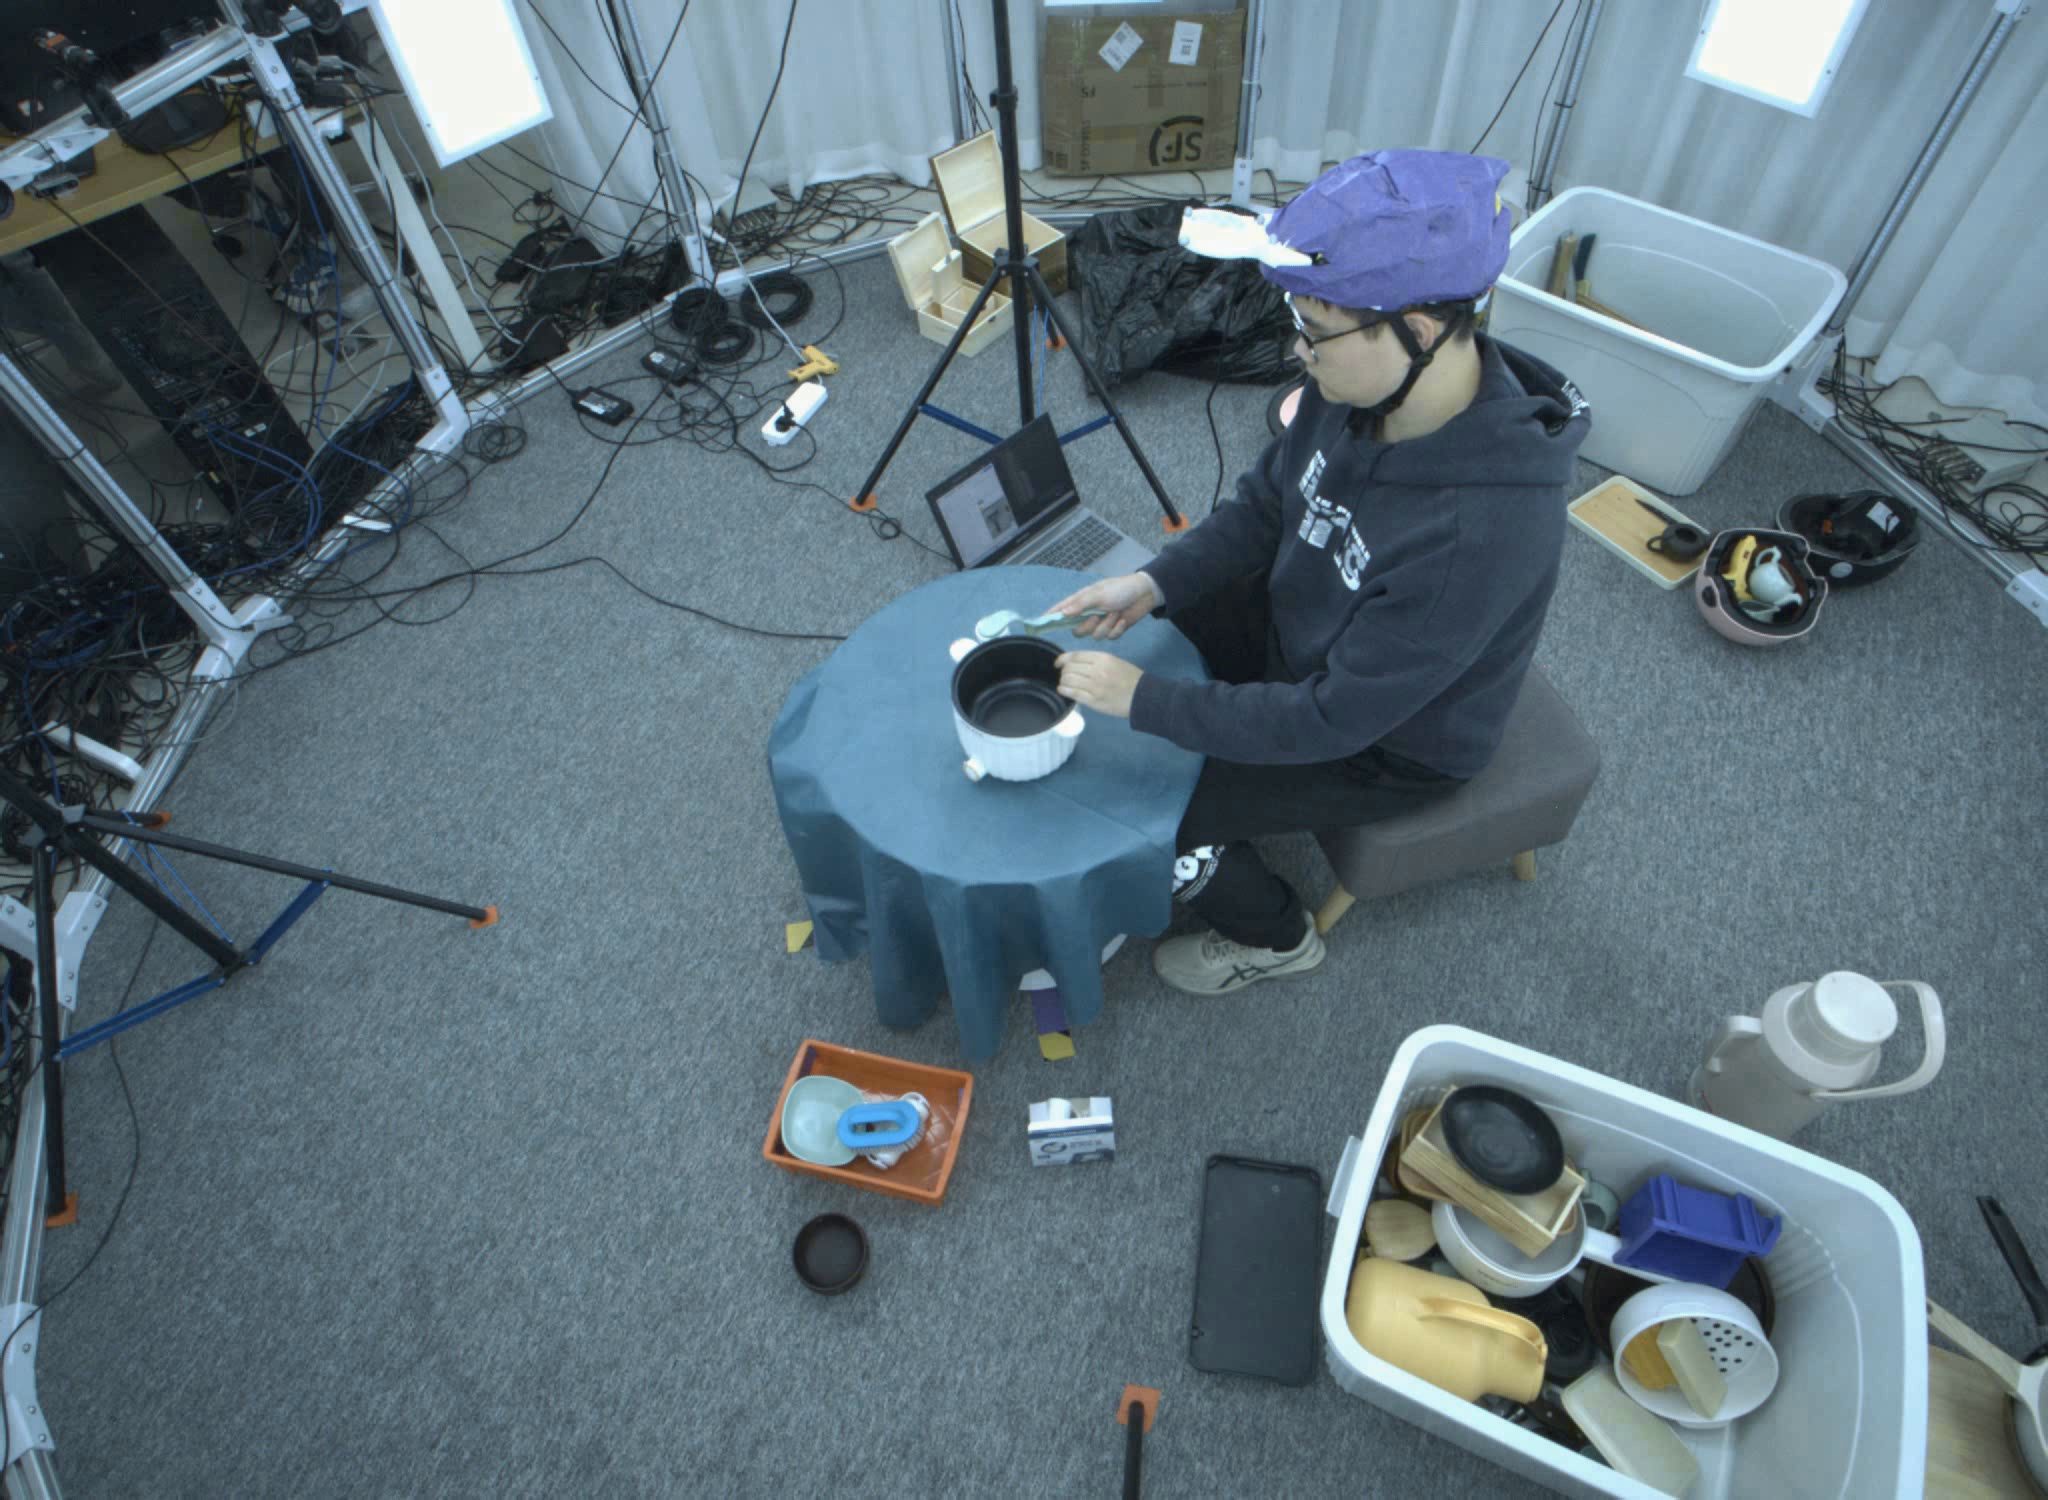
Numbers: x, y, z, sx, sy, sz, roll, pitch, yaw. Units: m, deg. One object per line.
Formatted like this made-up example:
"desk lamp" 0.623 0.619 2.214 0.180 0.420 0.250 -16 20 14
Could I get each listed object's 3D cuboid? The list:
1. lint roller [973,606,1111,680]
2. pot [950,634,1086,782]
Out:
"lint roller" 0.028 -0.176 1.790 0.198 0.118 0.047 -21 49 -3
"pot" -0.011 -0.048 1.737 0.236 0.144 0.192 35 60 25
